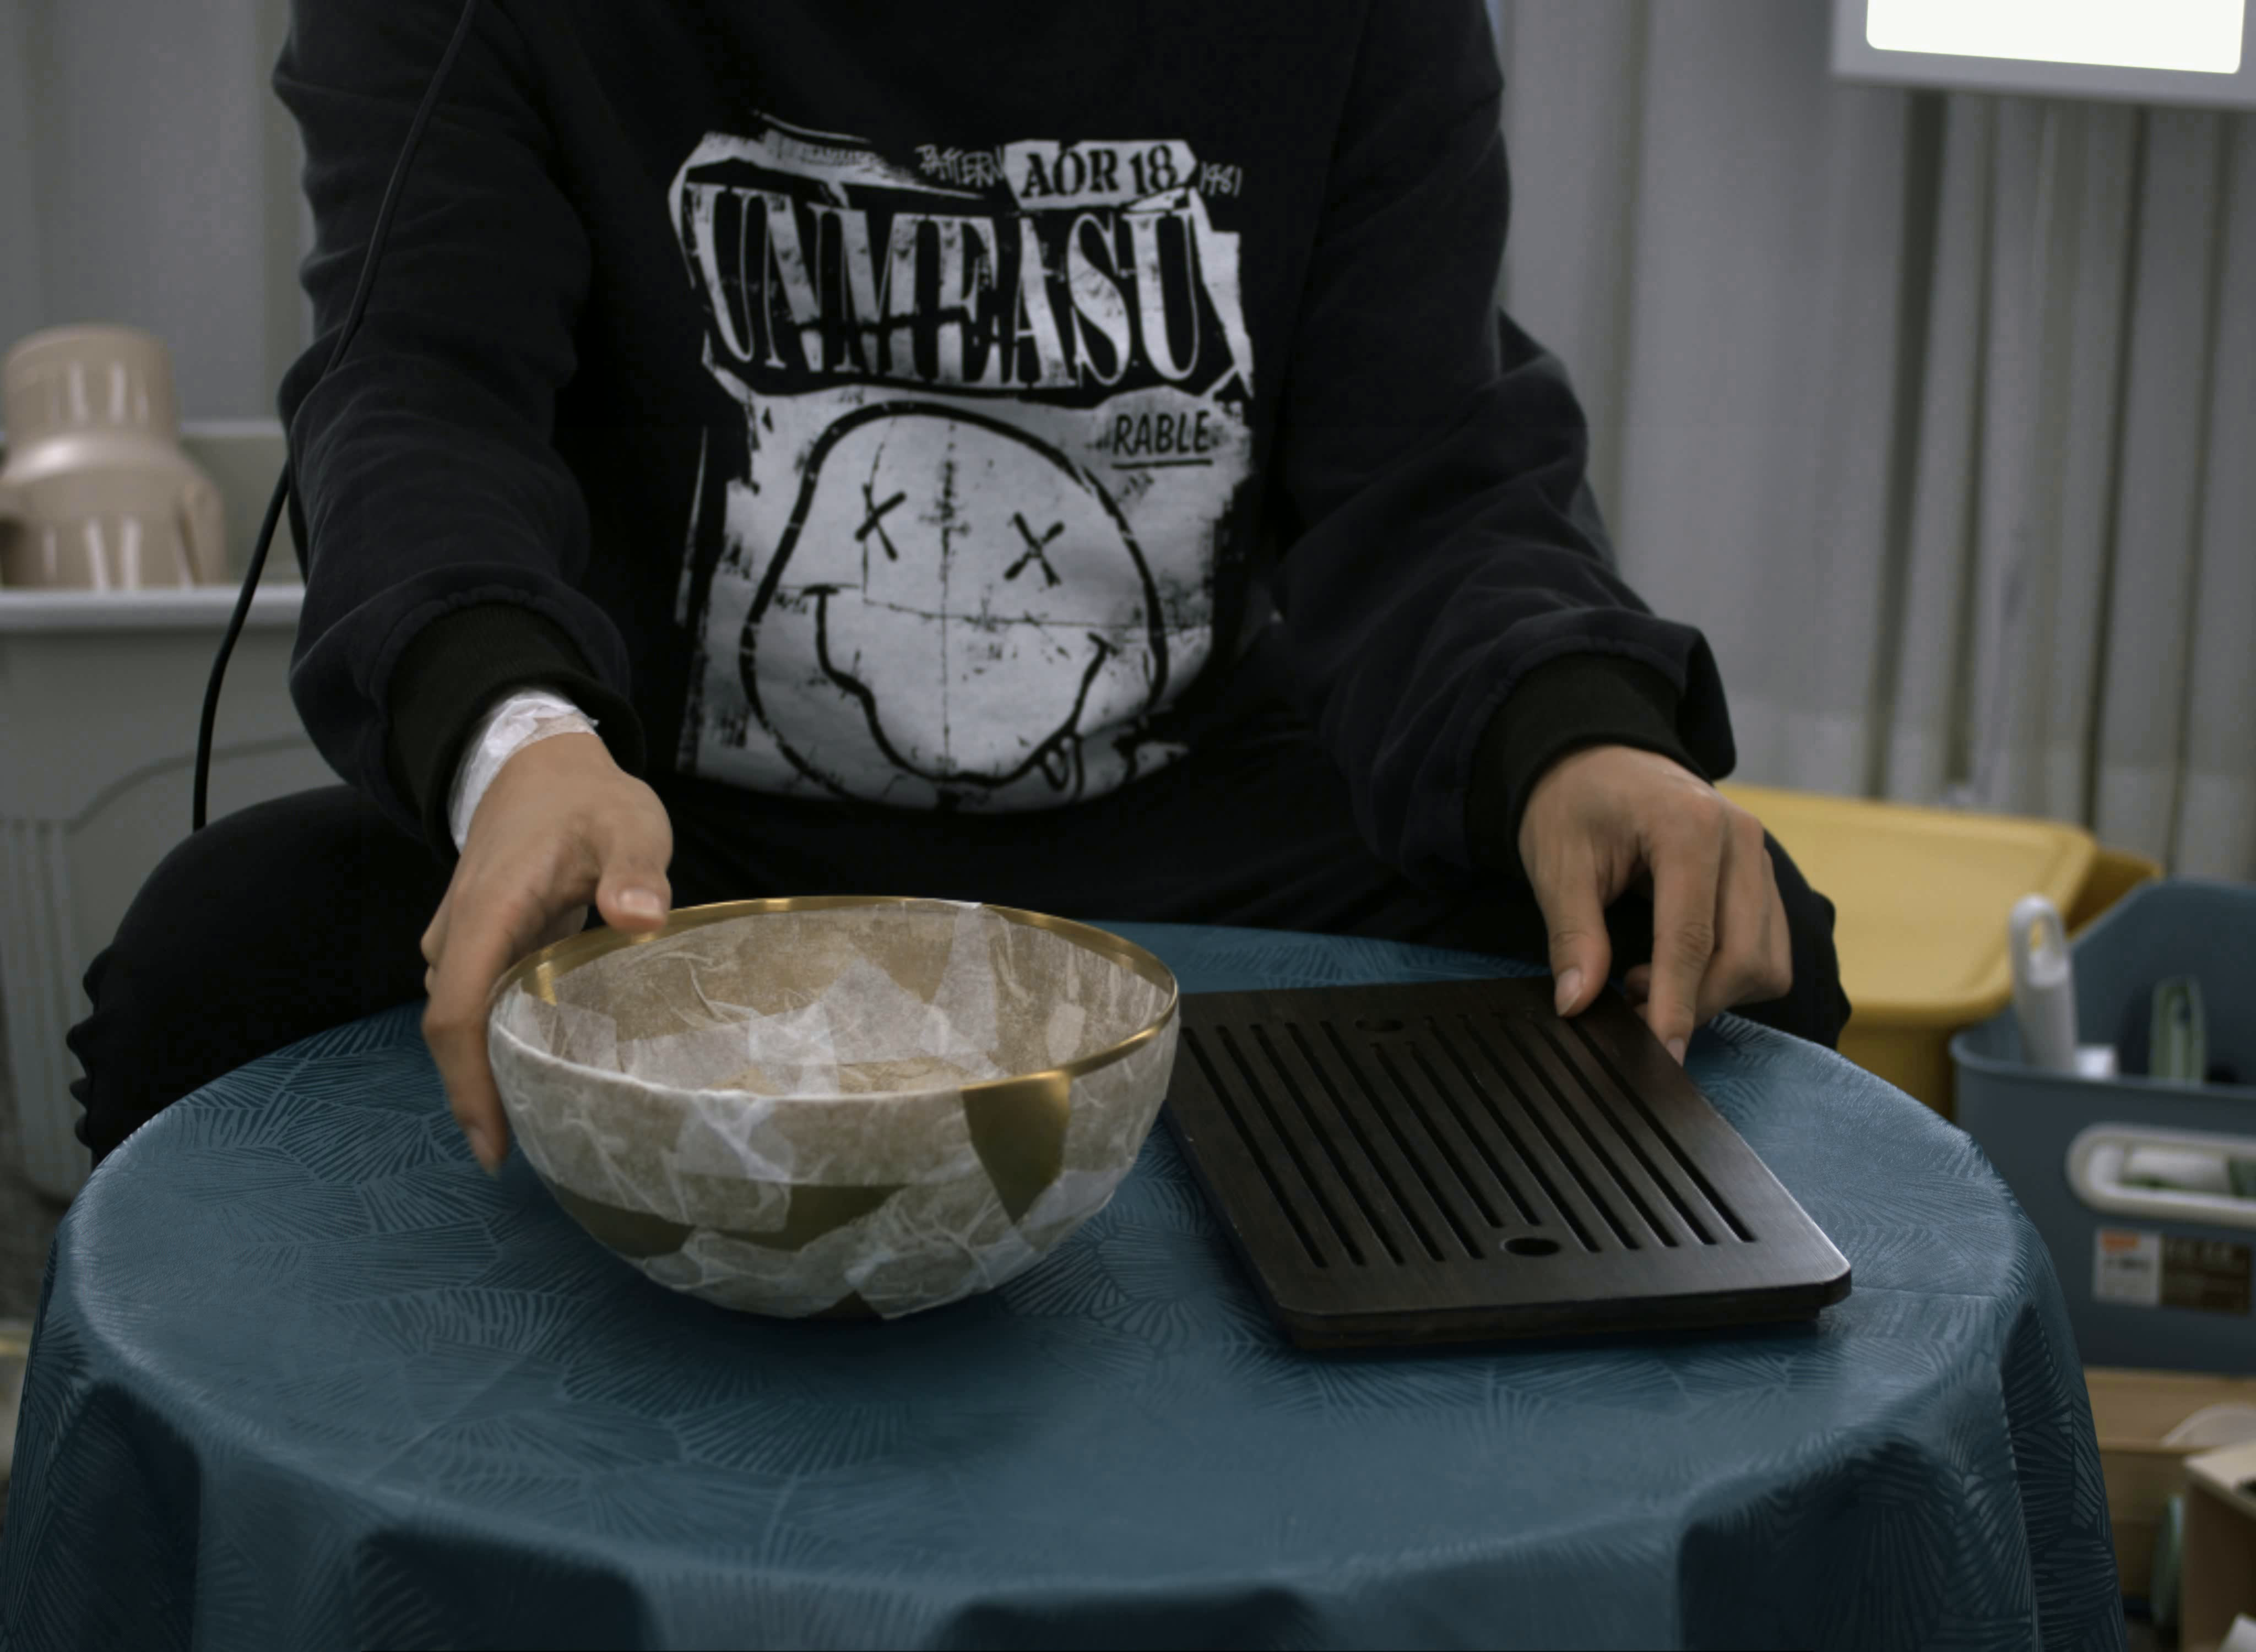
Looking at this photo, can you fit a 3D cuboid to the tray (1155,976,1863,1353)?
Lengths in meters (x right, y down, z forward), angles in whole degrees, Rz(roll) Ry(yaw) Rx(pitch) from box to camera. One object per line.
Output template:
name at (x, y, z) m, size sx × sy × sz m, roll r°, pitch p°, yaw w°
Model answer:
tray at (0.105, 0.102, 1.637) m, size 0.170 × 0.019 × 0.303 m, roll -2°, pitch 16°, yaw -9°

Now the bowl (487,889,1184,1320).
bowl at (-0.081, 0.088, 1.536) m, size 0.214 × 0.095 × 0.213 m, roll -1°, pitch 16°, yaw 1°
